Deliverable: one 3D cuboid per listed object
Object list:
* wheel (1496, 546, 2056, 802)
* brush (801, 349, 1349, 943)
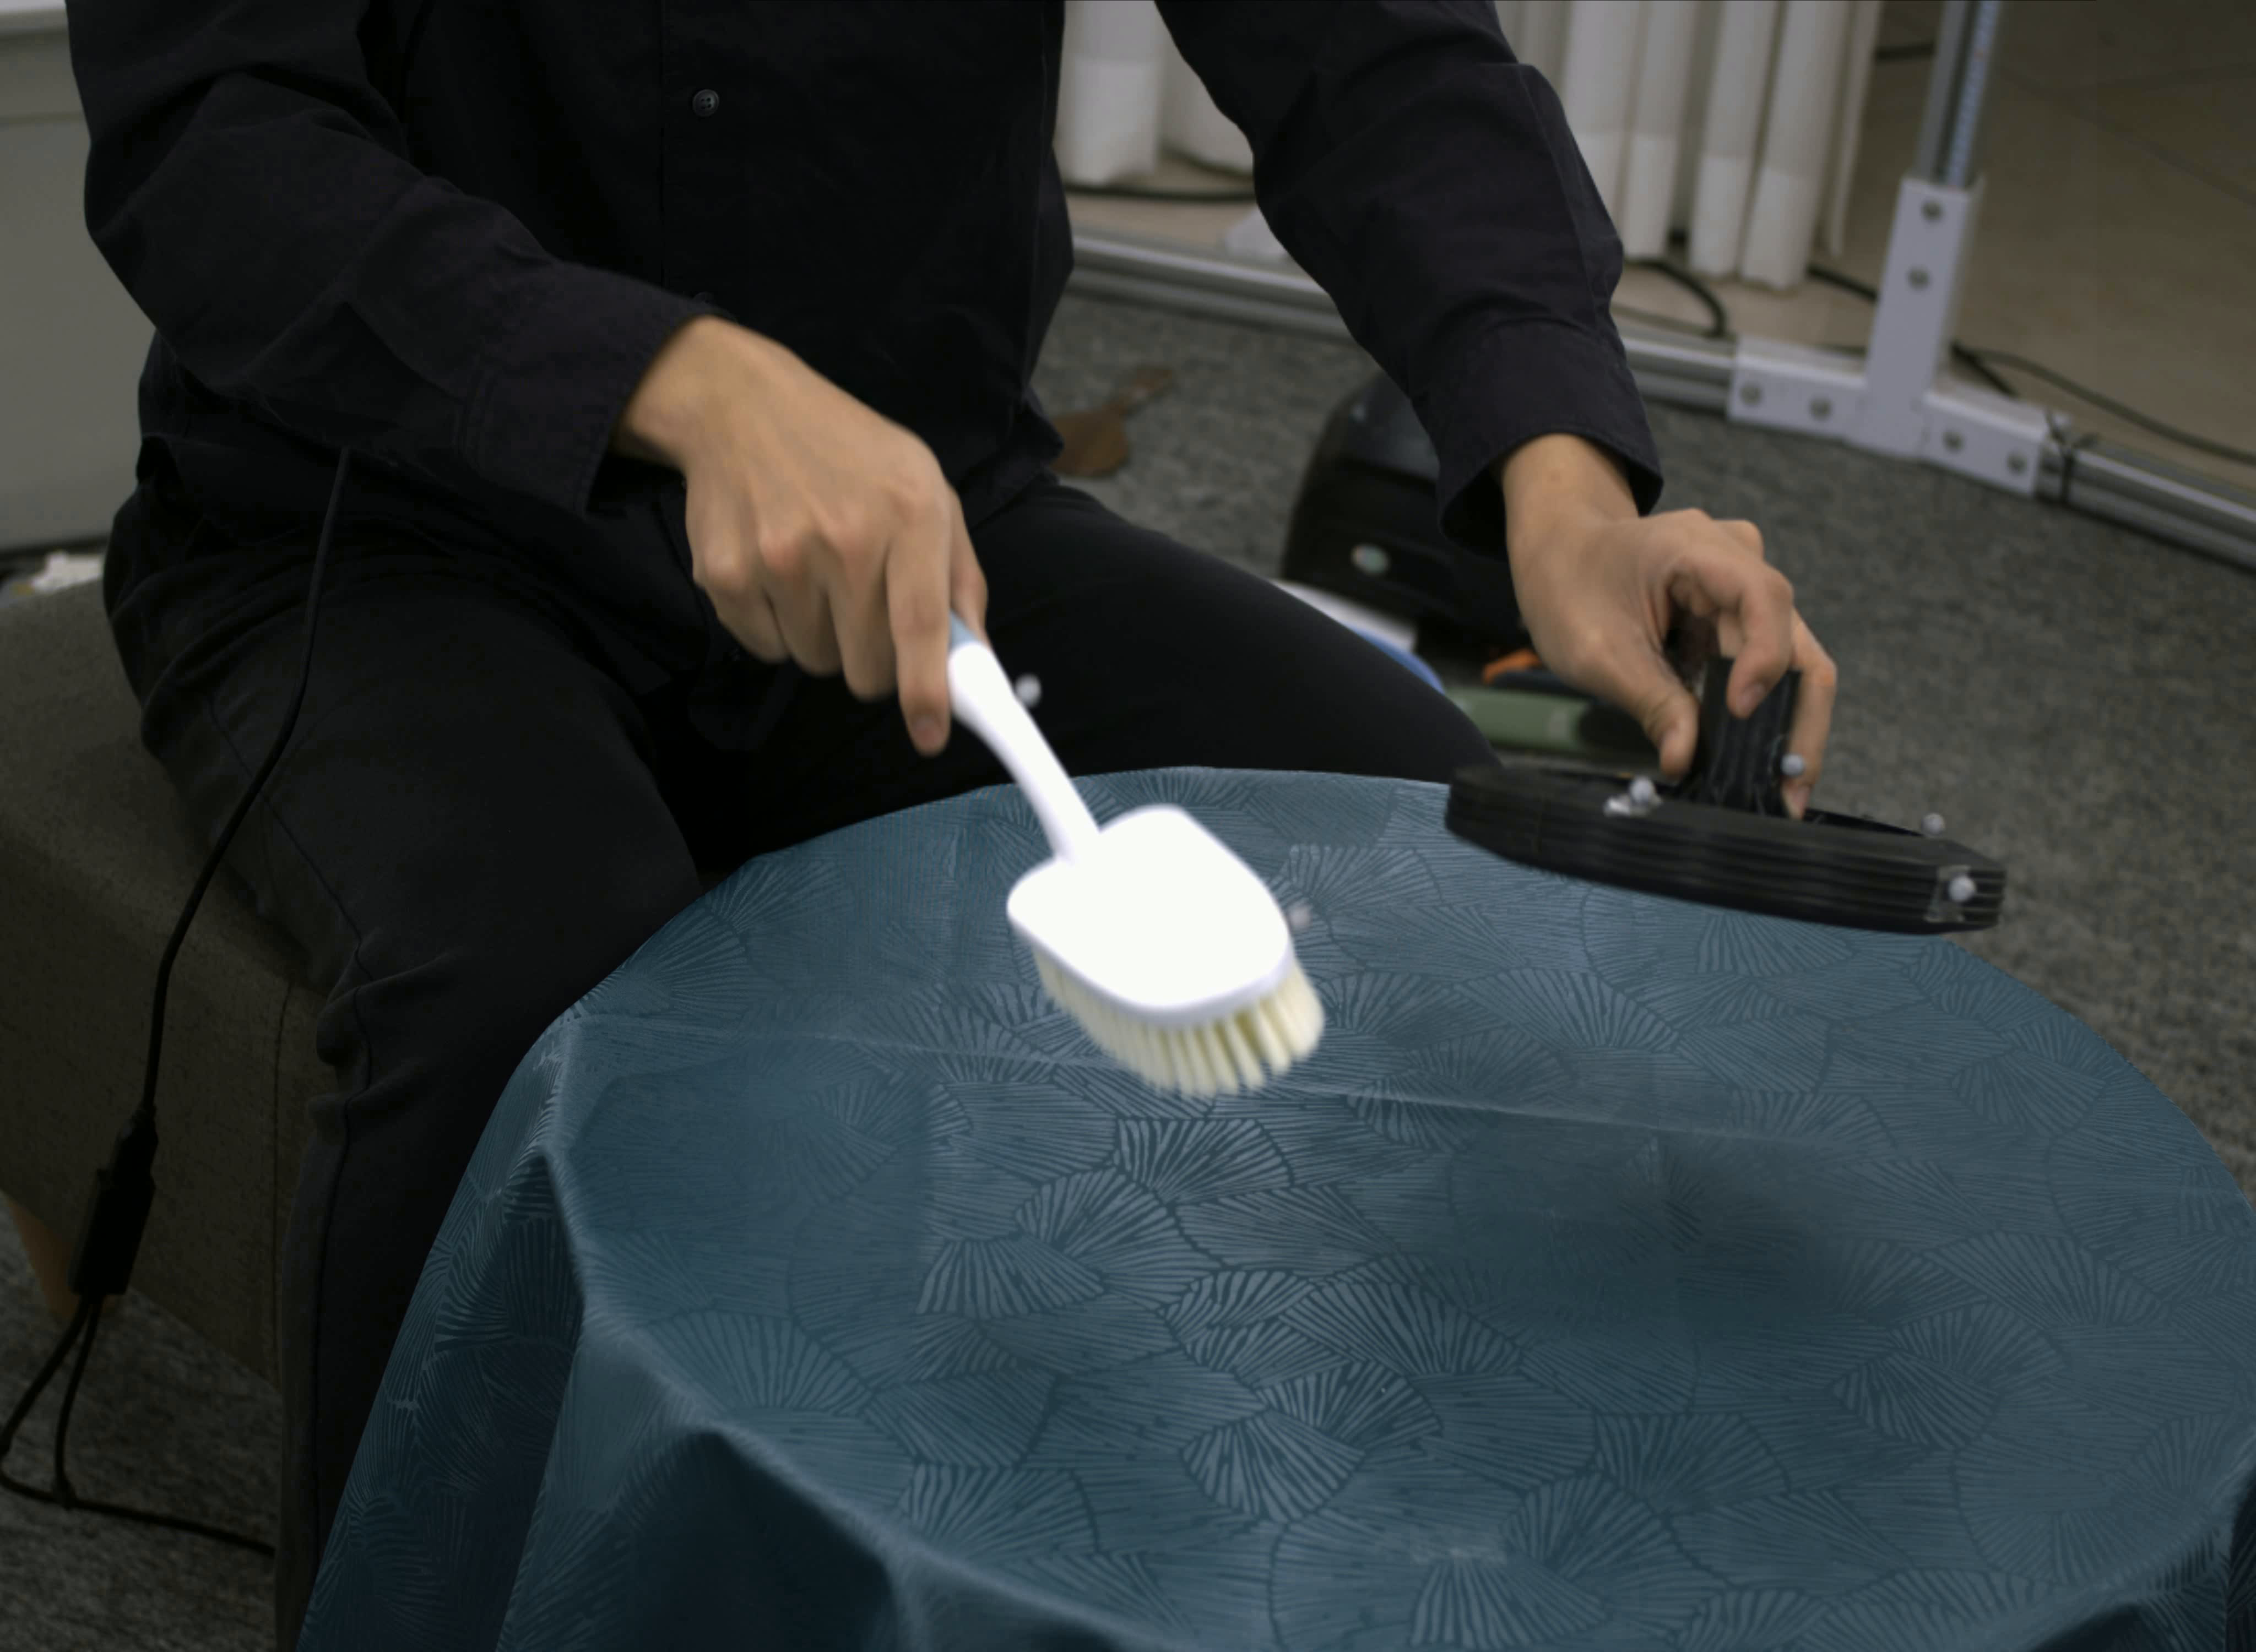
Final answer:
[{"bbox_3d":[0.223,-0.054,1.803,0.190,0.079,0.187,10,3,14],"label":"wheel"},{"bbox_3d":[-0.018,-0.055,1.782,0.082,0.084,0.328,2,30,-36],"label":"brush"}]
